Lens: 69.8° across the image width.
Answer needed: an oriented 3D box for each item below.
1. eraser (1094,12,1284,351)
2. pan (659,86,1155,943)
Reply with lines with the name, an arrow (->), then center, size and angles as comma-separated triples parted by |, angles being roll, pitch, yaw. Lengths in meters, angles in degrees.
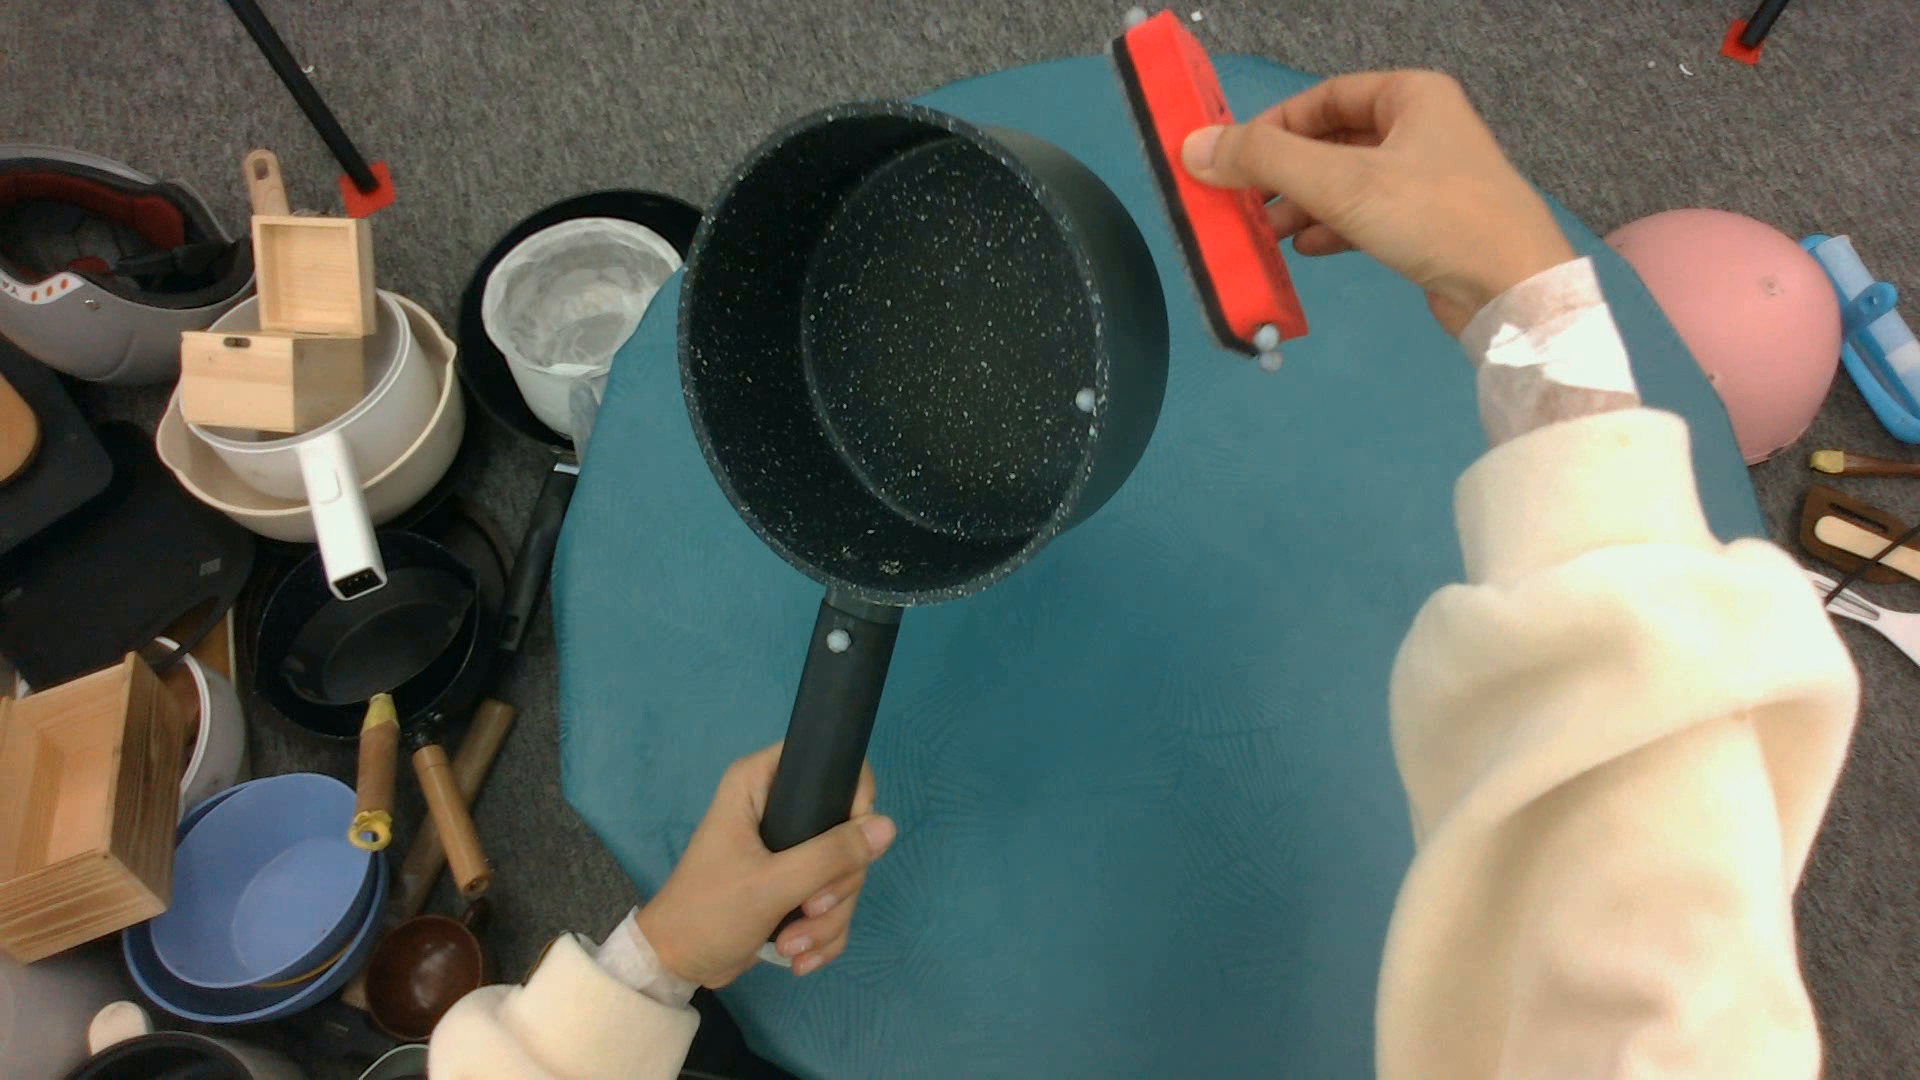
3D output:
eraser -> 0.078, -0.119, 0.467 | 0.023, 0.059, 0.108 | -22, 82, 22
pan -> -0.036, 0.000, 0.525 | 0.172, 0.087, 0.327 | 23, 110, 22
